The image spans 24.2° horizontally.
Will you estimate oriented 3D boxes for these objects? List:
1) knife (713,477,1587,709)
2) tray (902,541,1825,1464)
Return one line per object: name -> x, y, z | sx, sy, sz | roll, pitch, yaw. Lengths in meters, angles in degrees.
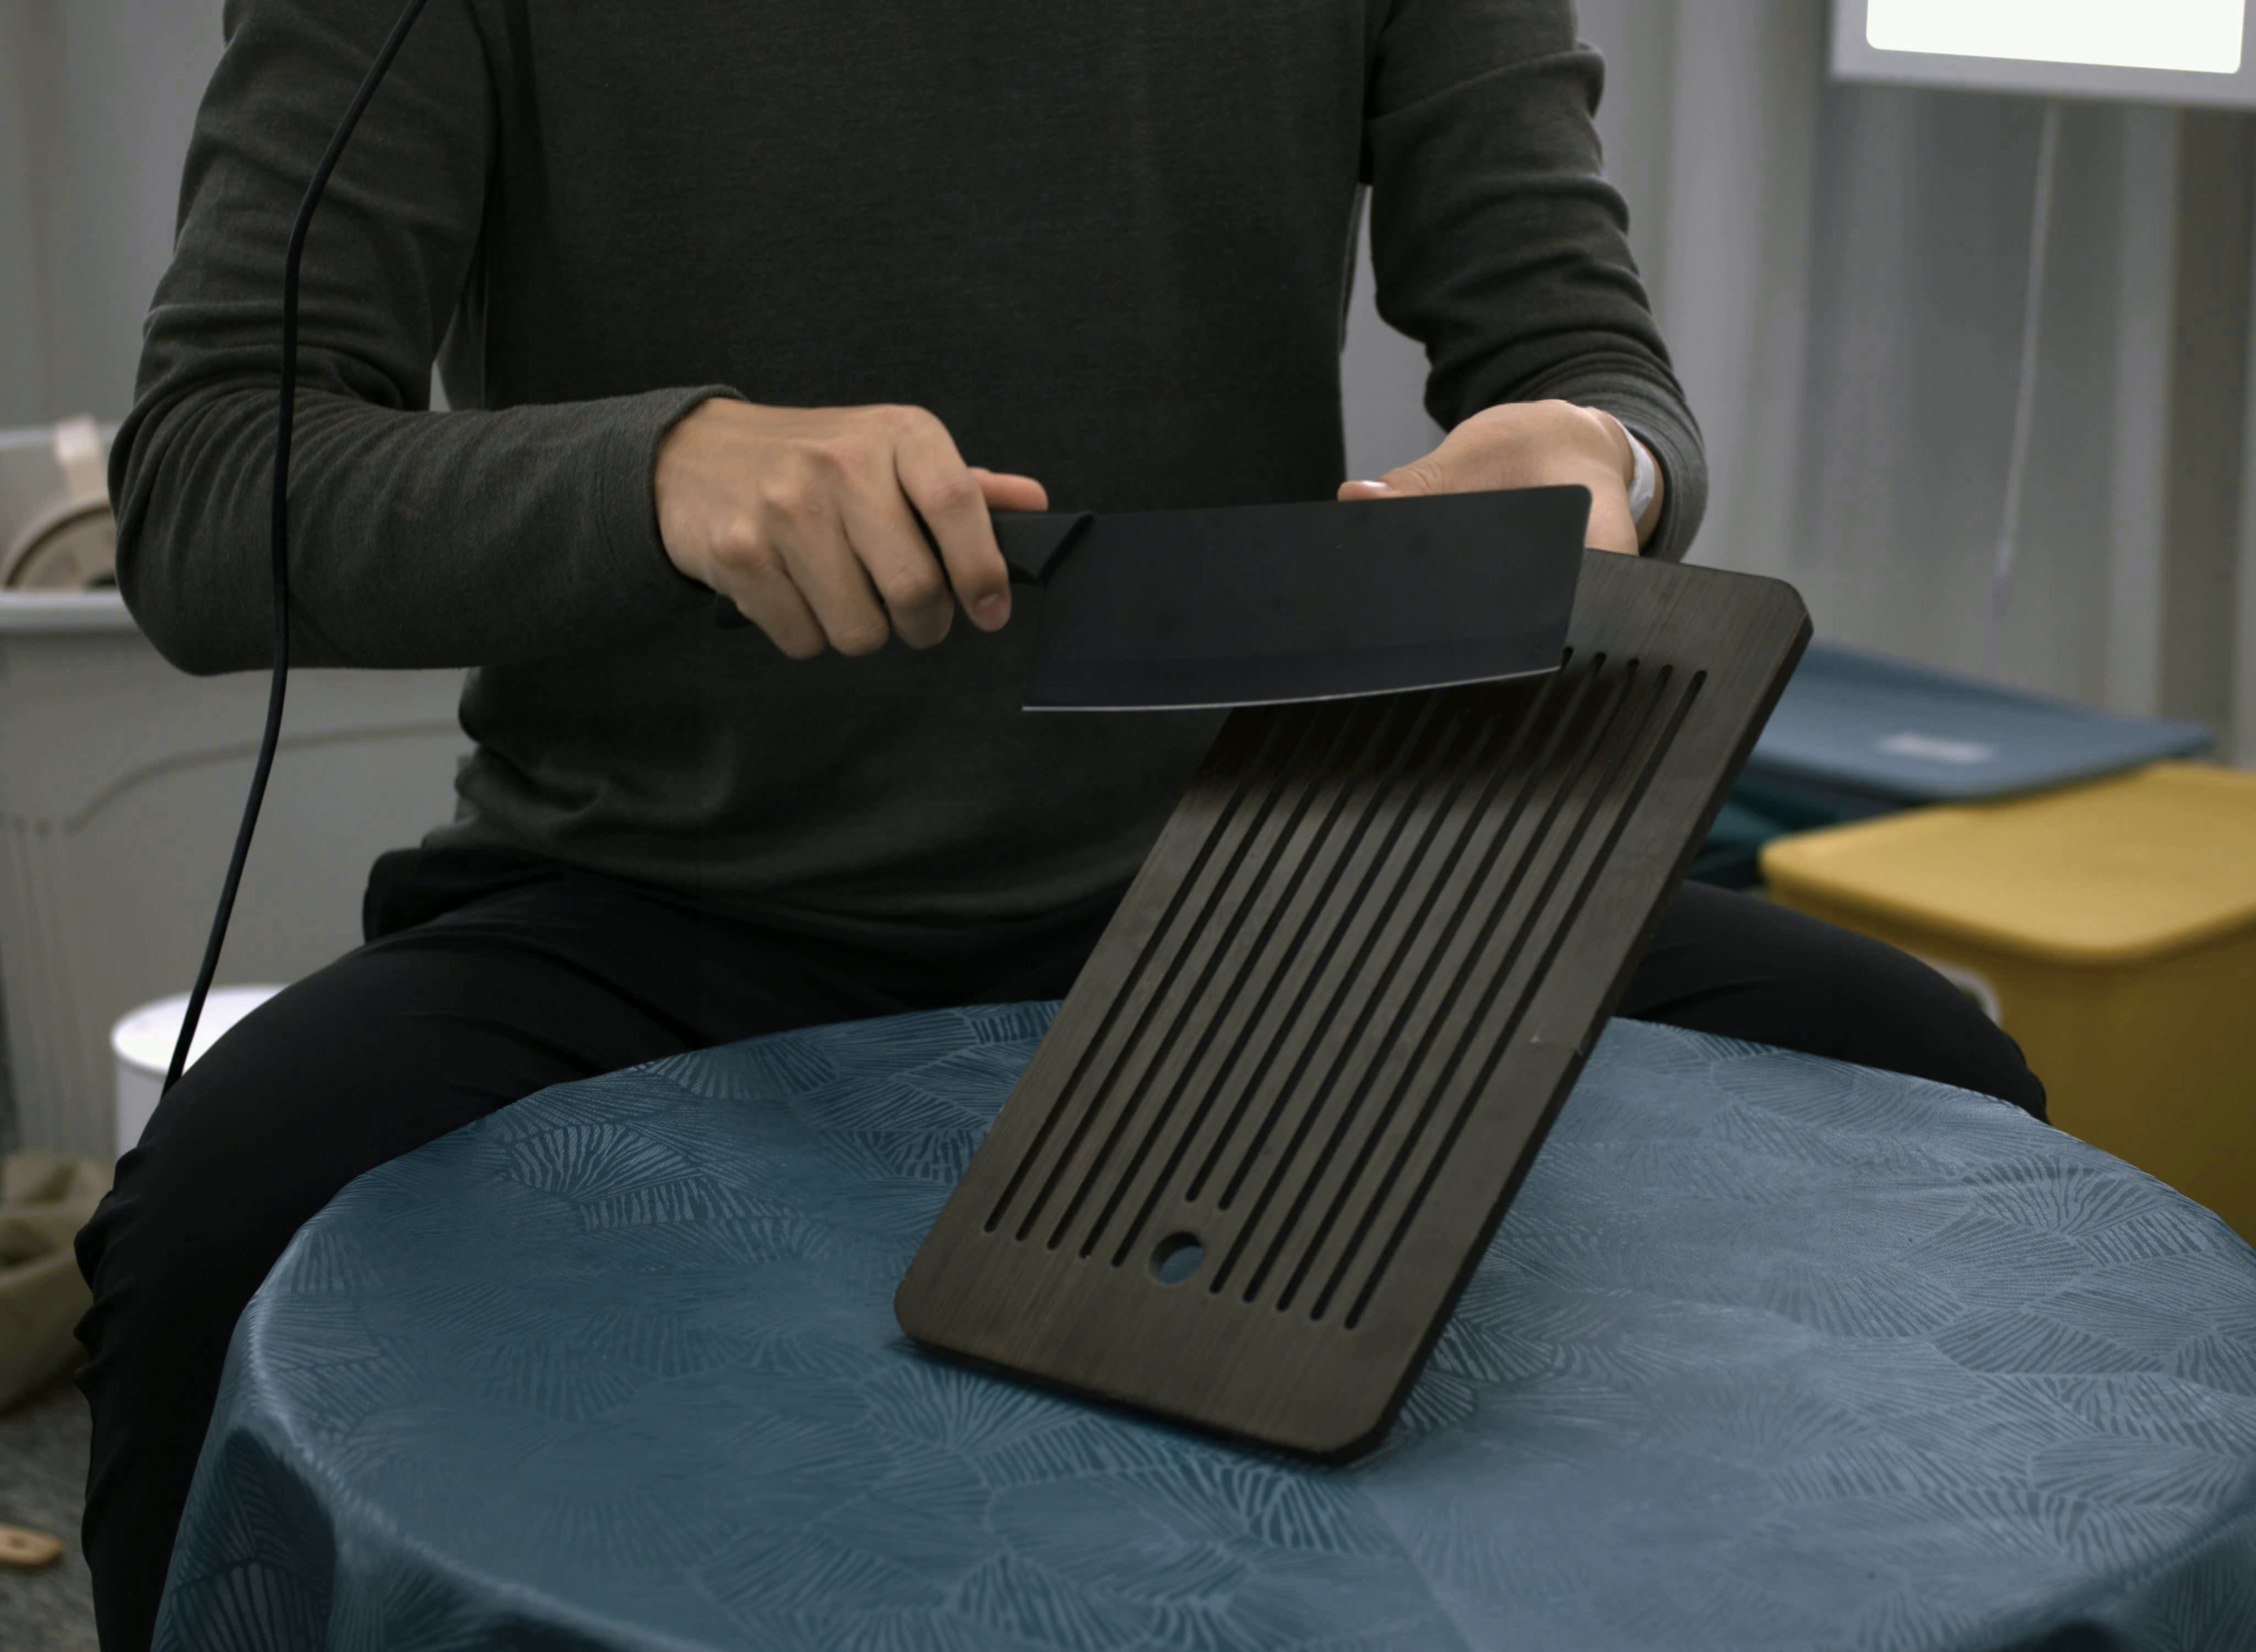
knife -> 0.001, -0.070, 1.584 | 0.299, 0.081, 0.021 | 2, -25, 32
tray -> 0.070, 0.040, 1.508 | 0.168, 0.019, 0.305 | 12, 60, 37
